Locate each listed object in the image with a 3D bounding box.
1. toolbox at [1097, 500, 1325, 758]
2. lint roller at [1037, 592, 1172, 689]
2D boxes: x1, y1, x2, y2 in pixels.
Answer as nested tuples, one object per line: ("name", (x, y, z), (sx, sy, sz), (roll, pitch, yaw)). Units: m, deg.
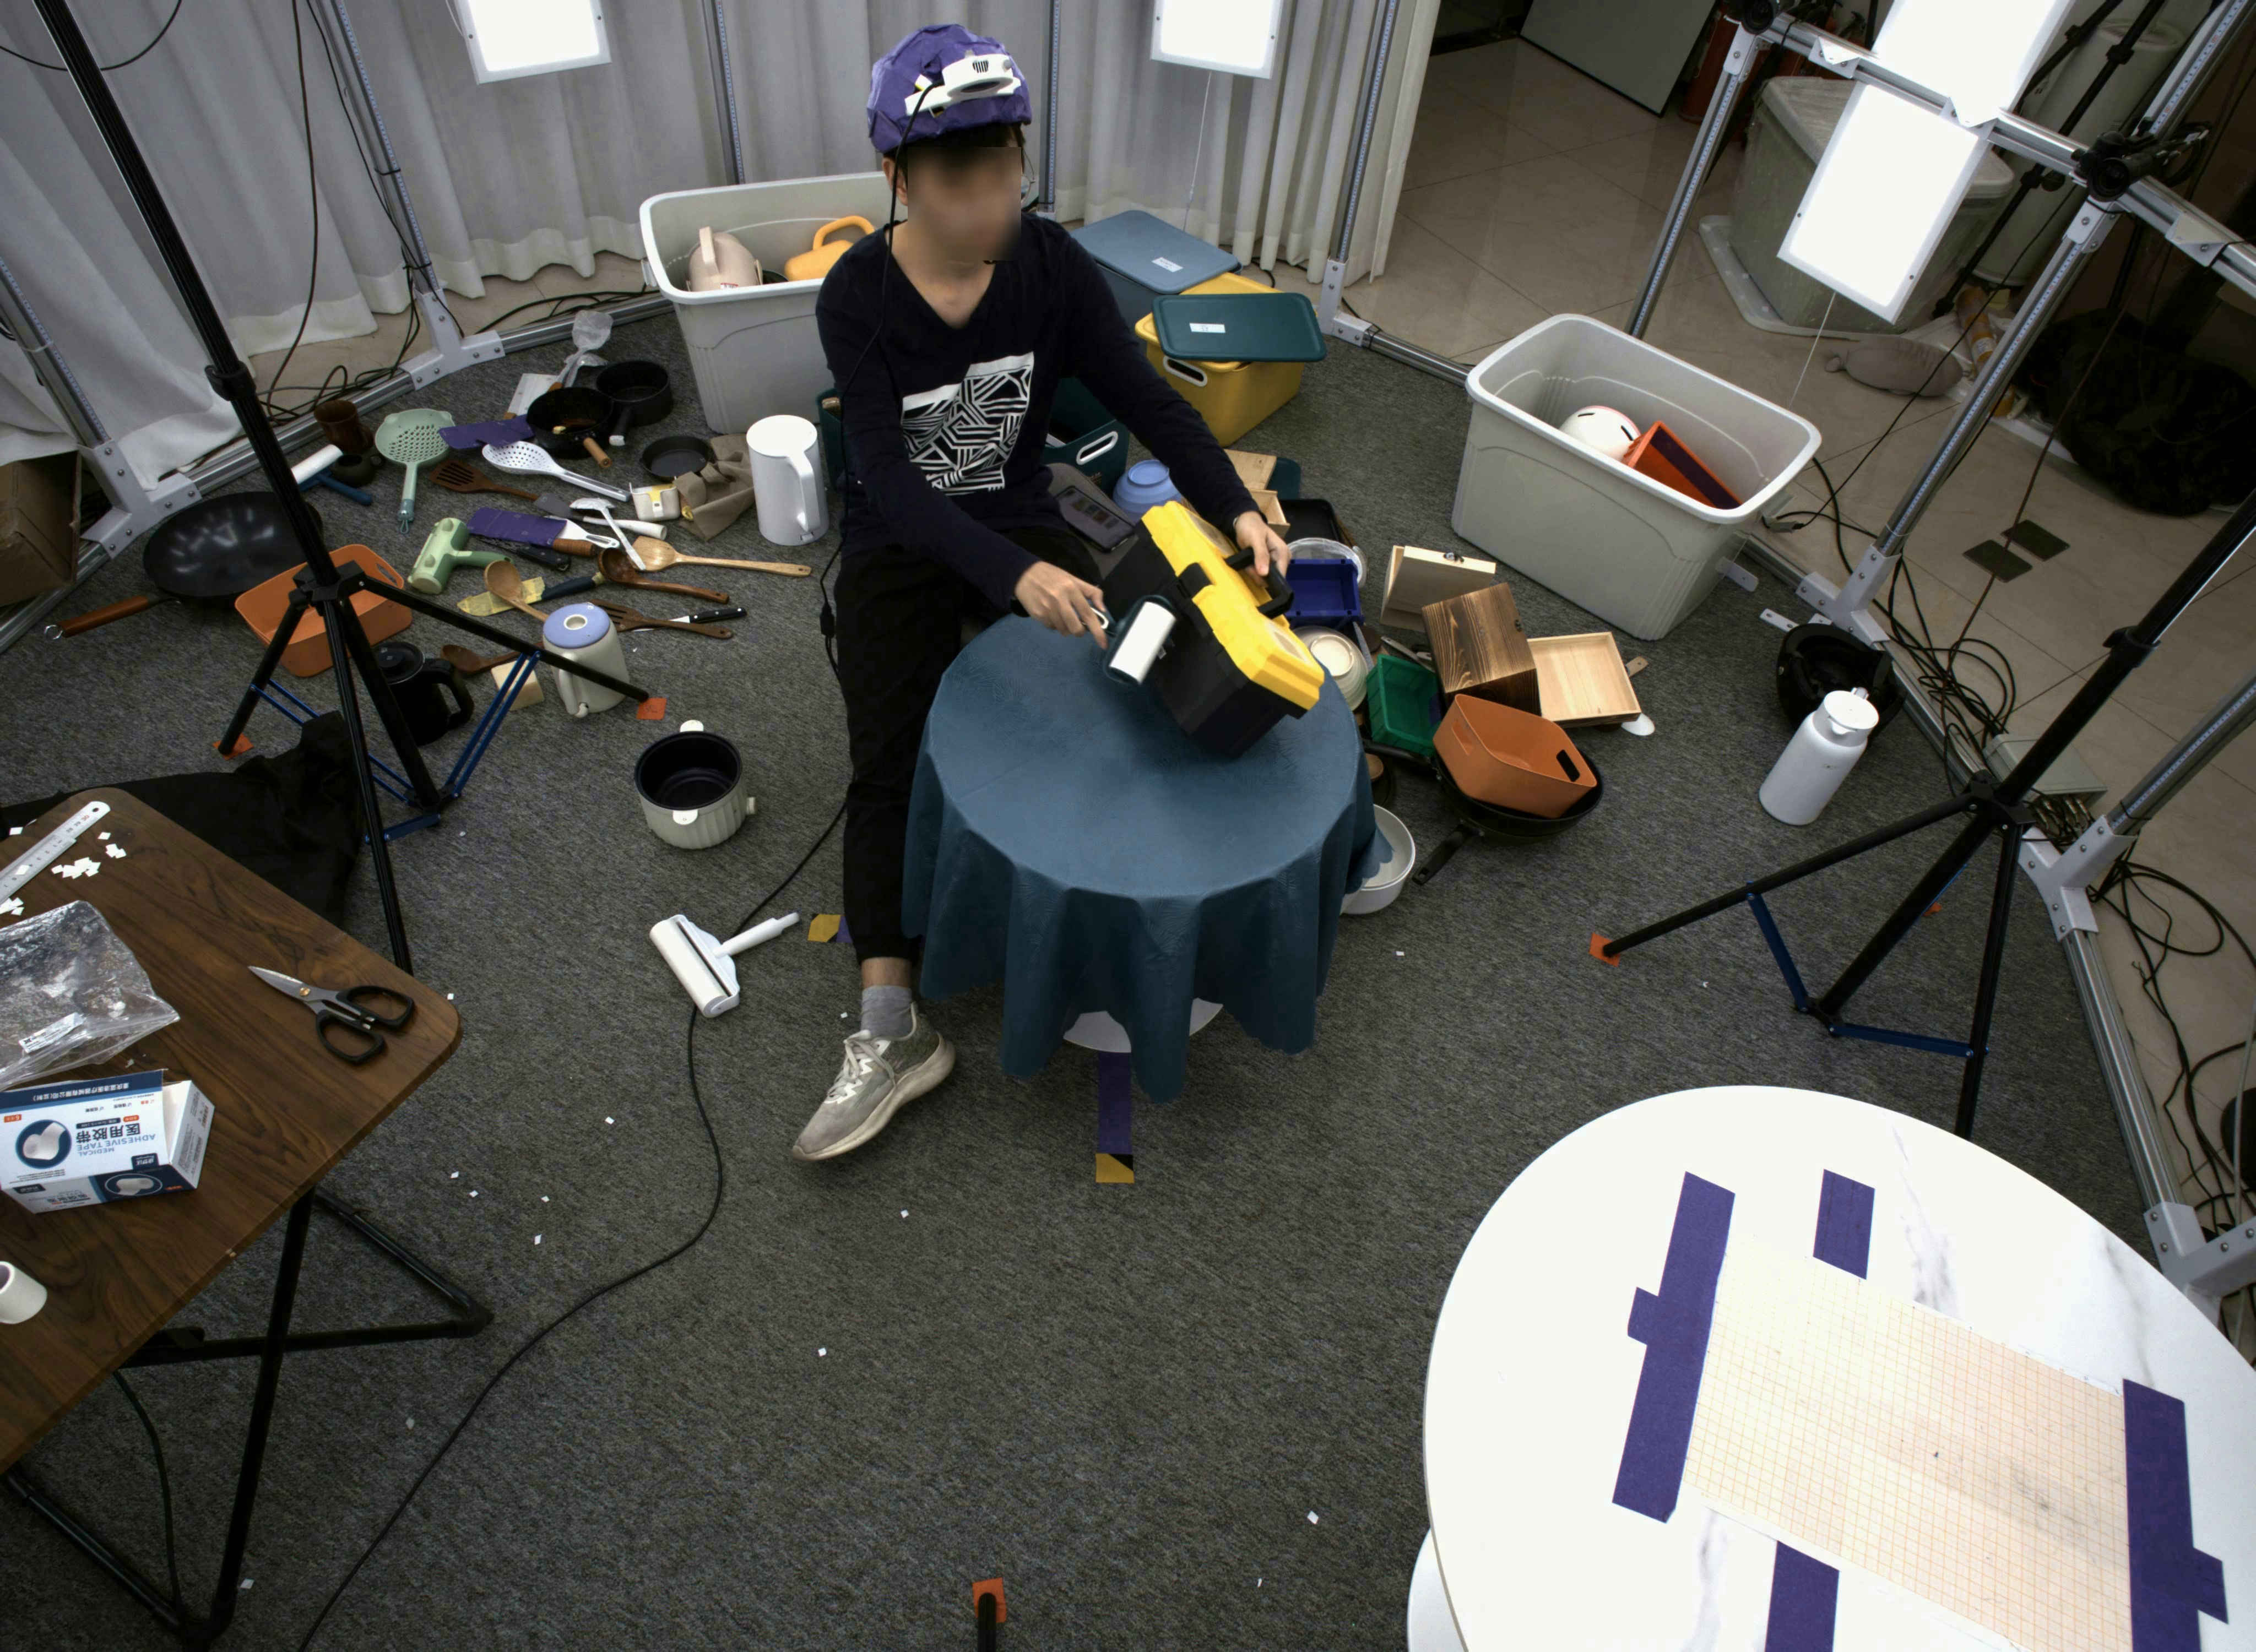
("toolbox", (0.105, -0.272, 1.774), (0.179, 0.171, 0.360), (21, 32, -45))
("lint roller", (-0.045, -0.272, 1.701), (0.181, 0.048, 0.135), (27, 83, 12))
